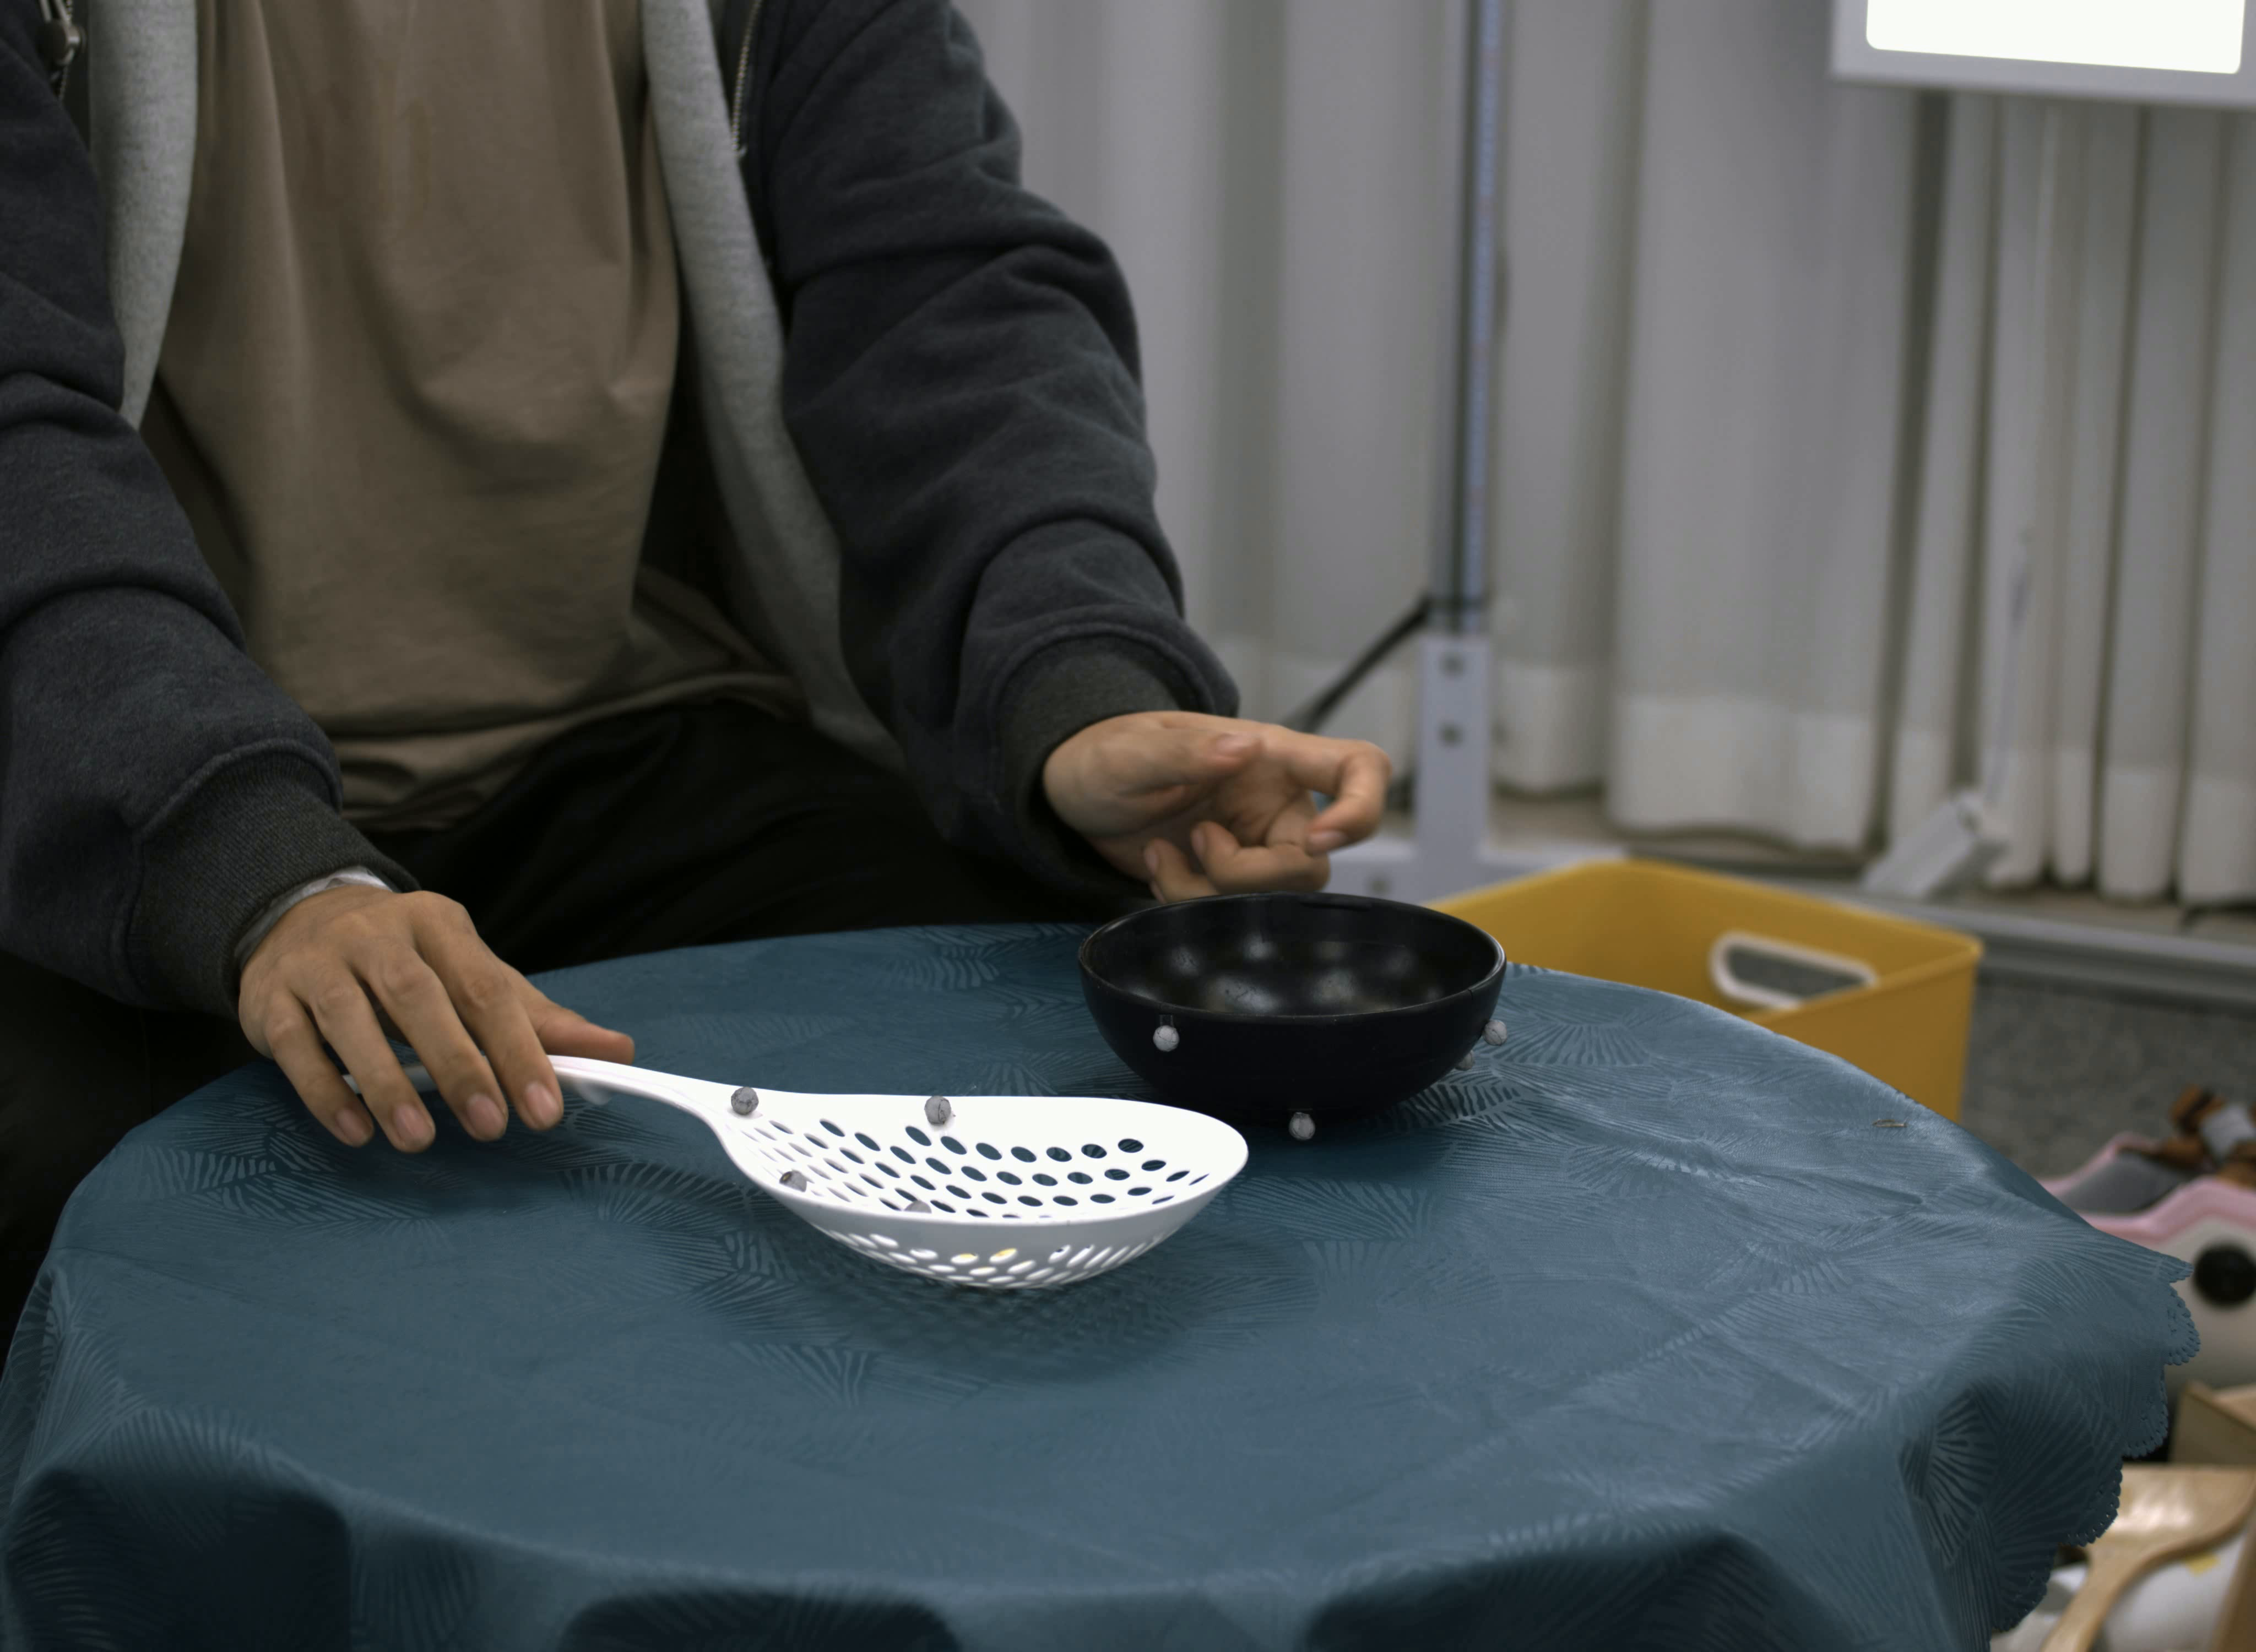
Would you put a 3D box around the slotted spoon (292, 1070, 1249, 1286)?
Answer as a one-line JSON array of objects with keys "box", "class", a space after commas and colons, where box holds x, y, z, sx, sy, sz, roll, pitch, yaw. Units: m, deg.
[{"box": [-0.121, 0.095, 1.605, 0.343, 0.051, 0.137, 11, 20, 34], "class": "slotted spoon"}]
